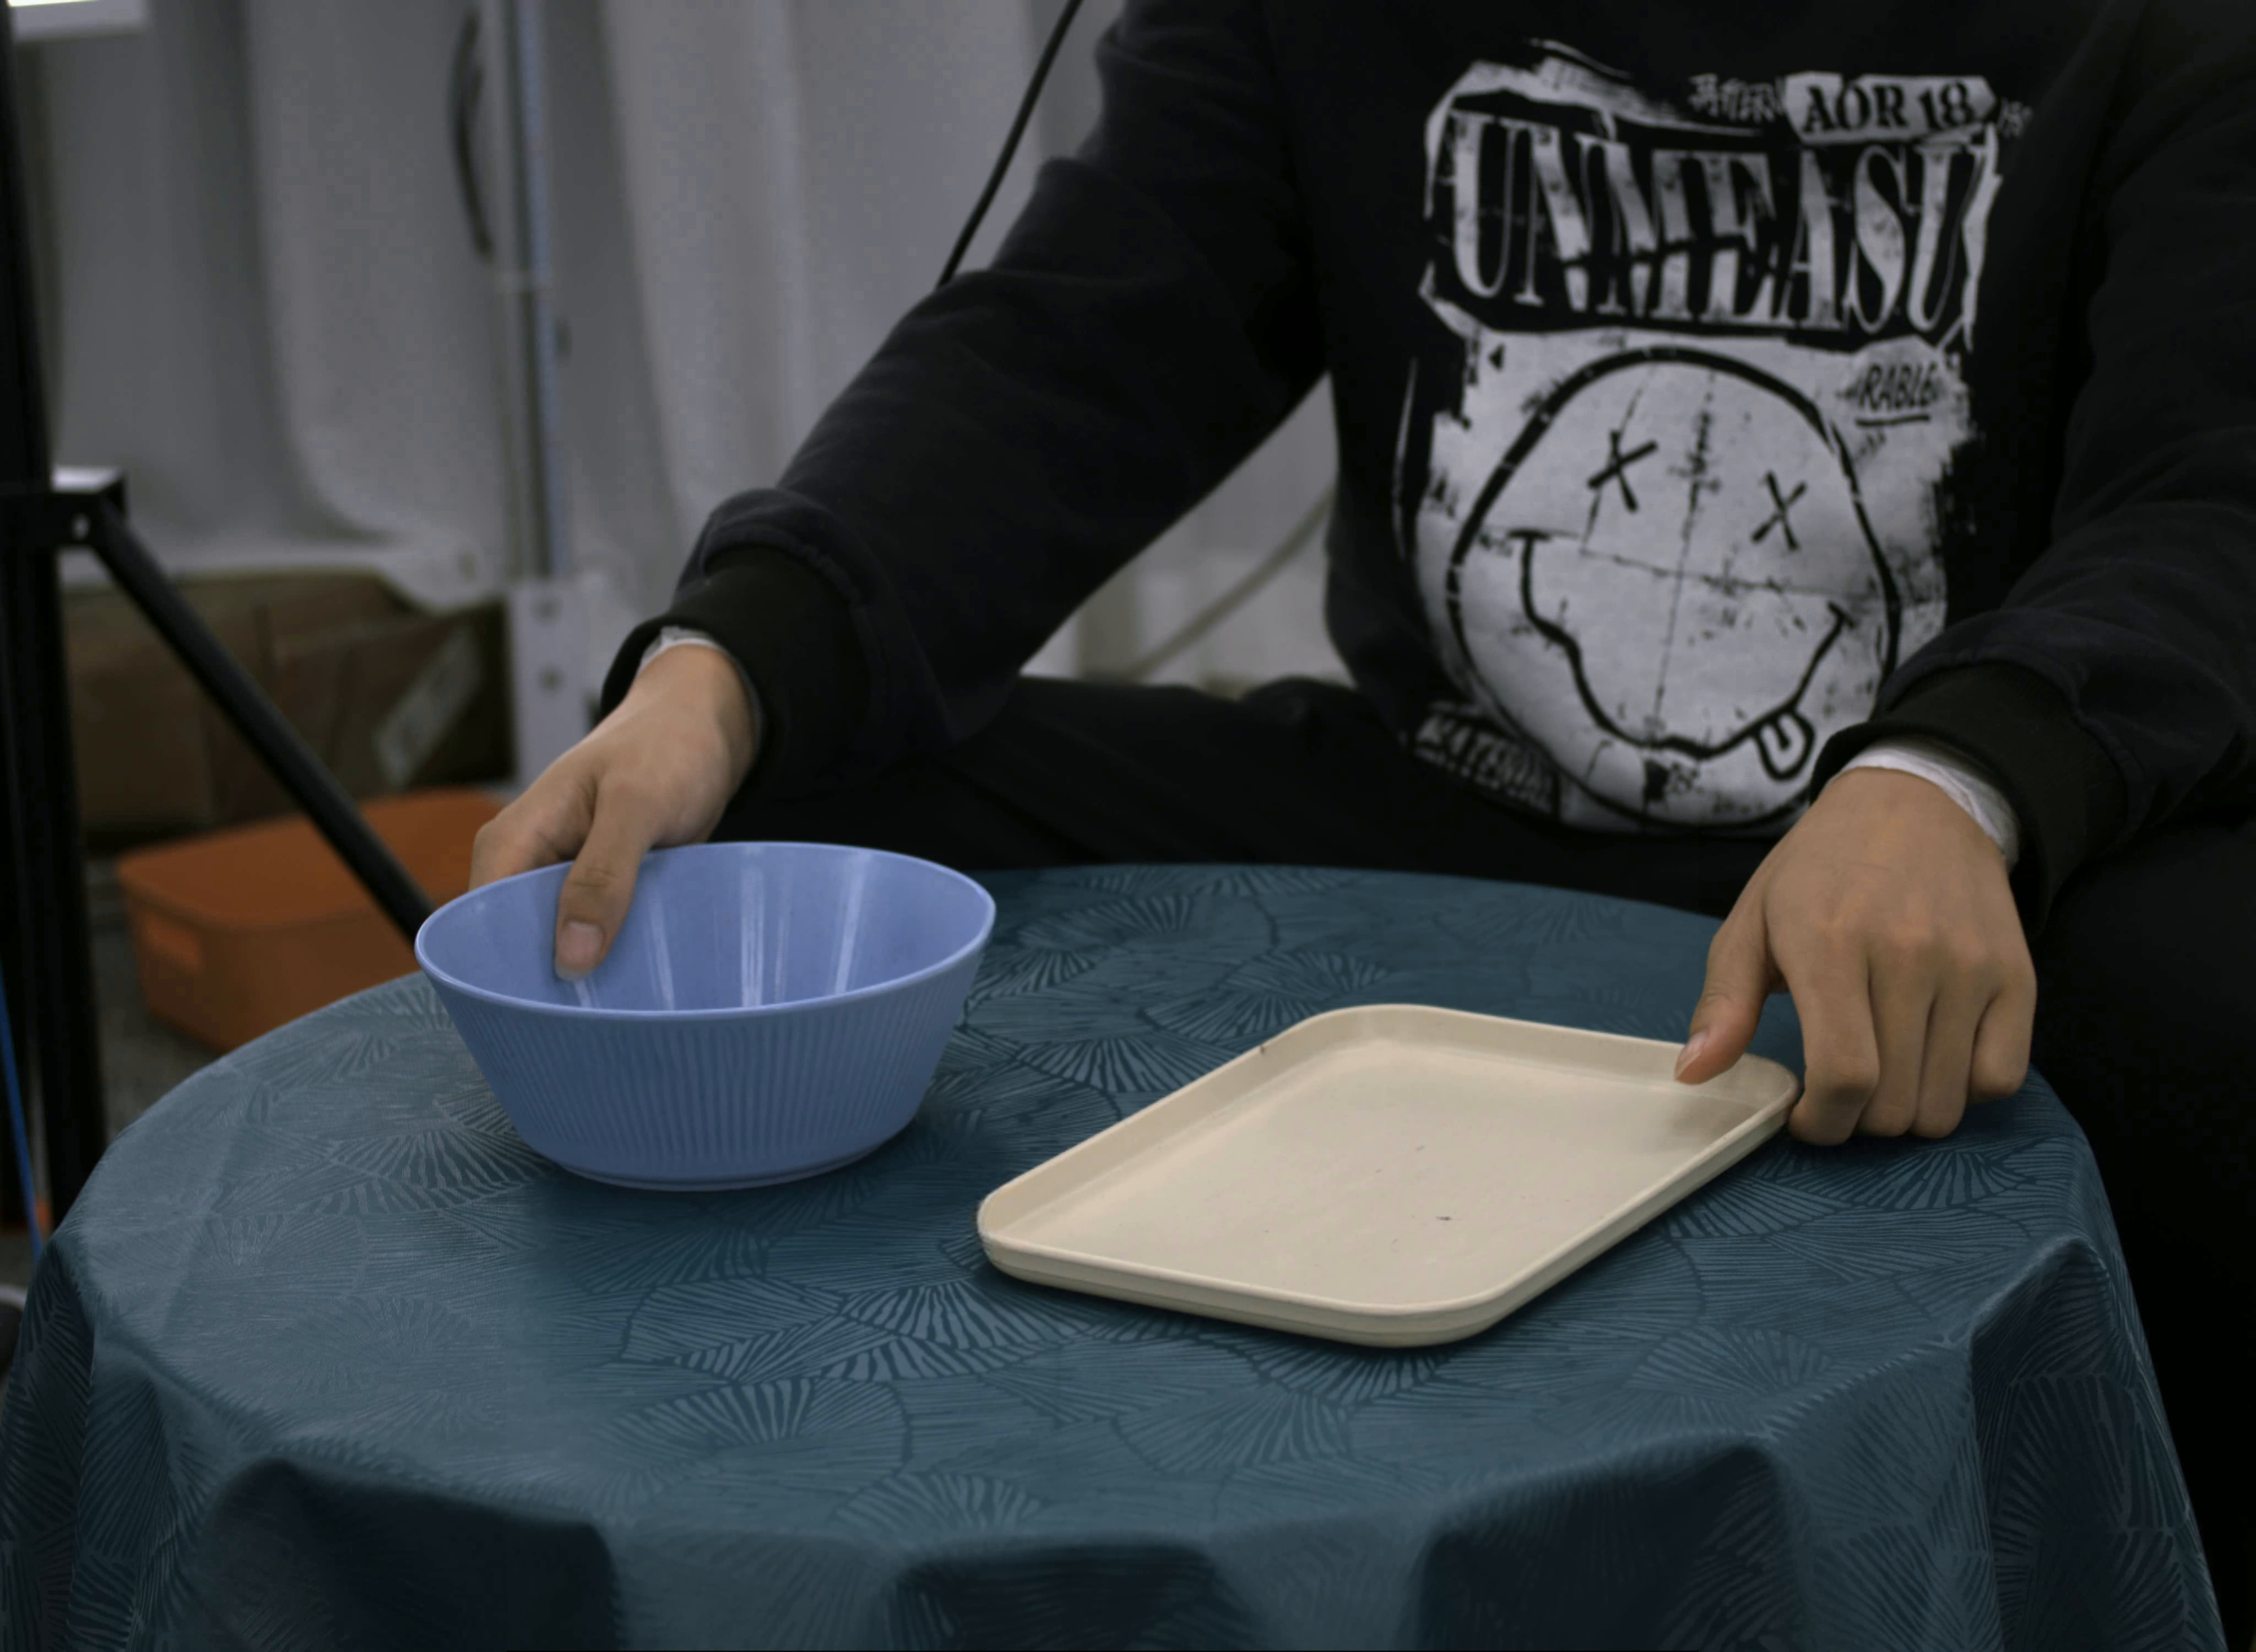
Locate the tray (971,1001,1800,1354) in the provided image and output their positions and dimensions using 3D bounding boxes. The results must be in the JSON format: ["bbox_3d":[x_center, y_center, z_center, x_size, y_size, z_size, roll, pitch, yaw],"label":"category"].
[{"bbox_3d":[0.078,0.101,1.539,0.174,0.017,0.235,8,19,33],"label":"tray"}]

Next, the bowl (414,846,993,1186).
[{"bbox_3d":[-0.128,0.060,1.620,0.175,0.070,0.177,-2,16,-1],"label":"bowl"}]
